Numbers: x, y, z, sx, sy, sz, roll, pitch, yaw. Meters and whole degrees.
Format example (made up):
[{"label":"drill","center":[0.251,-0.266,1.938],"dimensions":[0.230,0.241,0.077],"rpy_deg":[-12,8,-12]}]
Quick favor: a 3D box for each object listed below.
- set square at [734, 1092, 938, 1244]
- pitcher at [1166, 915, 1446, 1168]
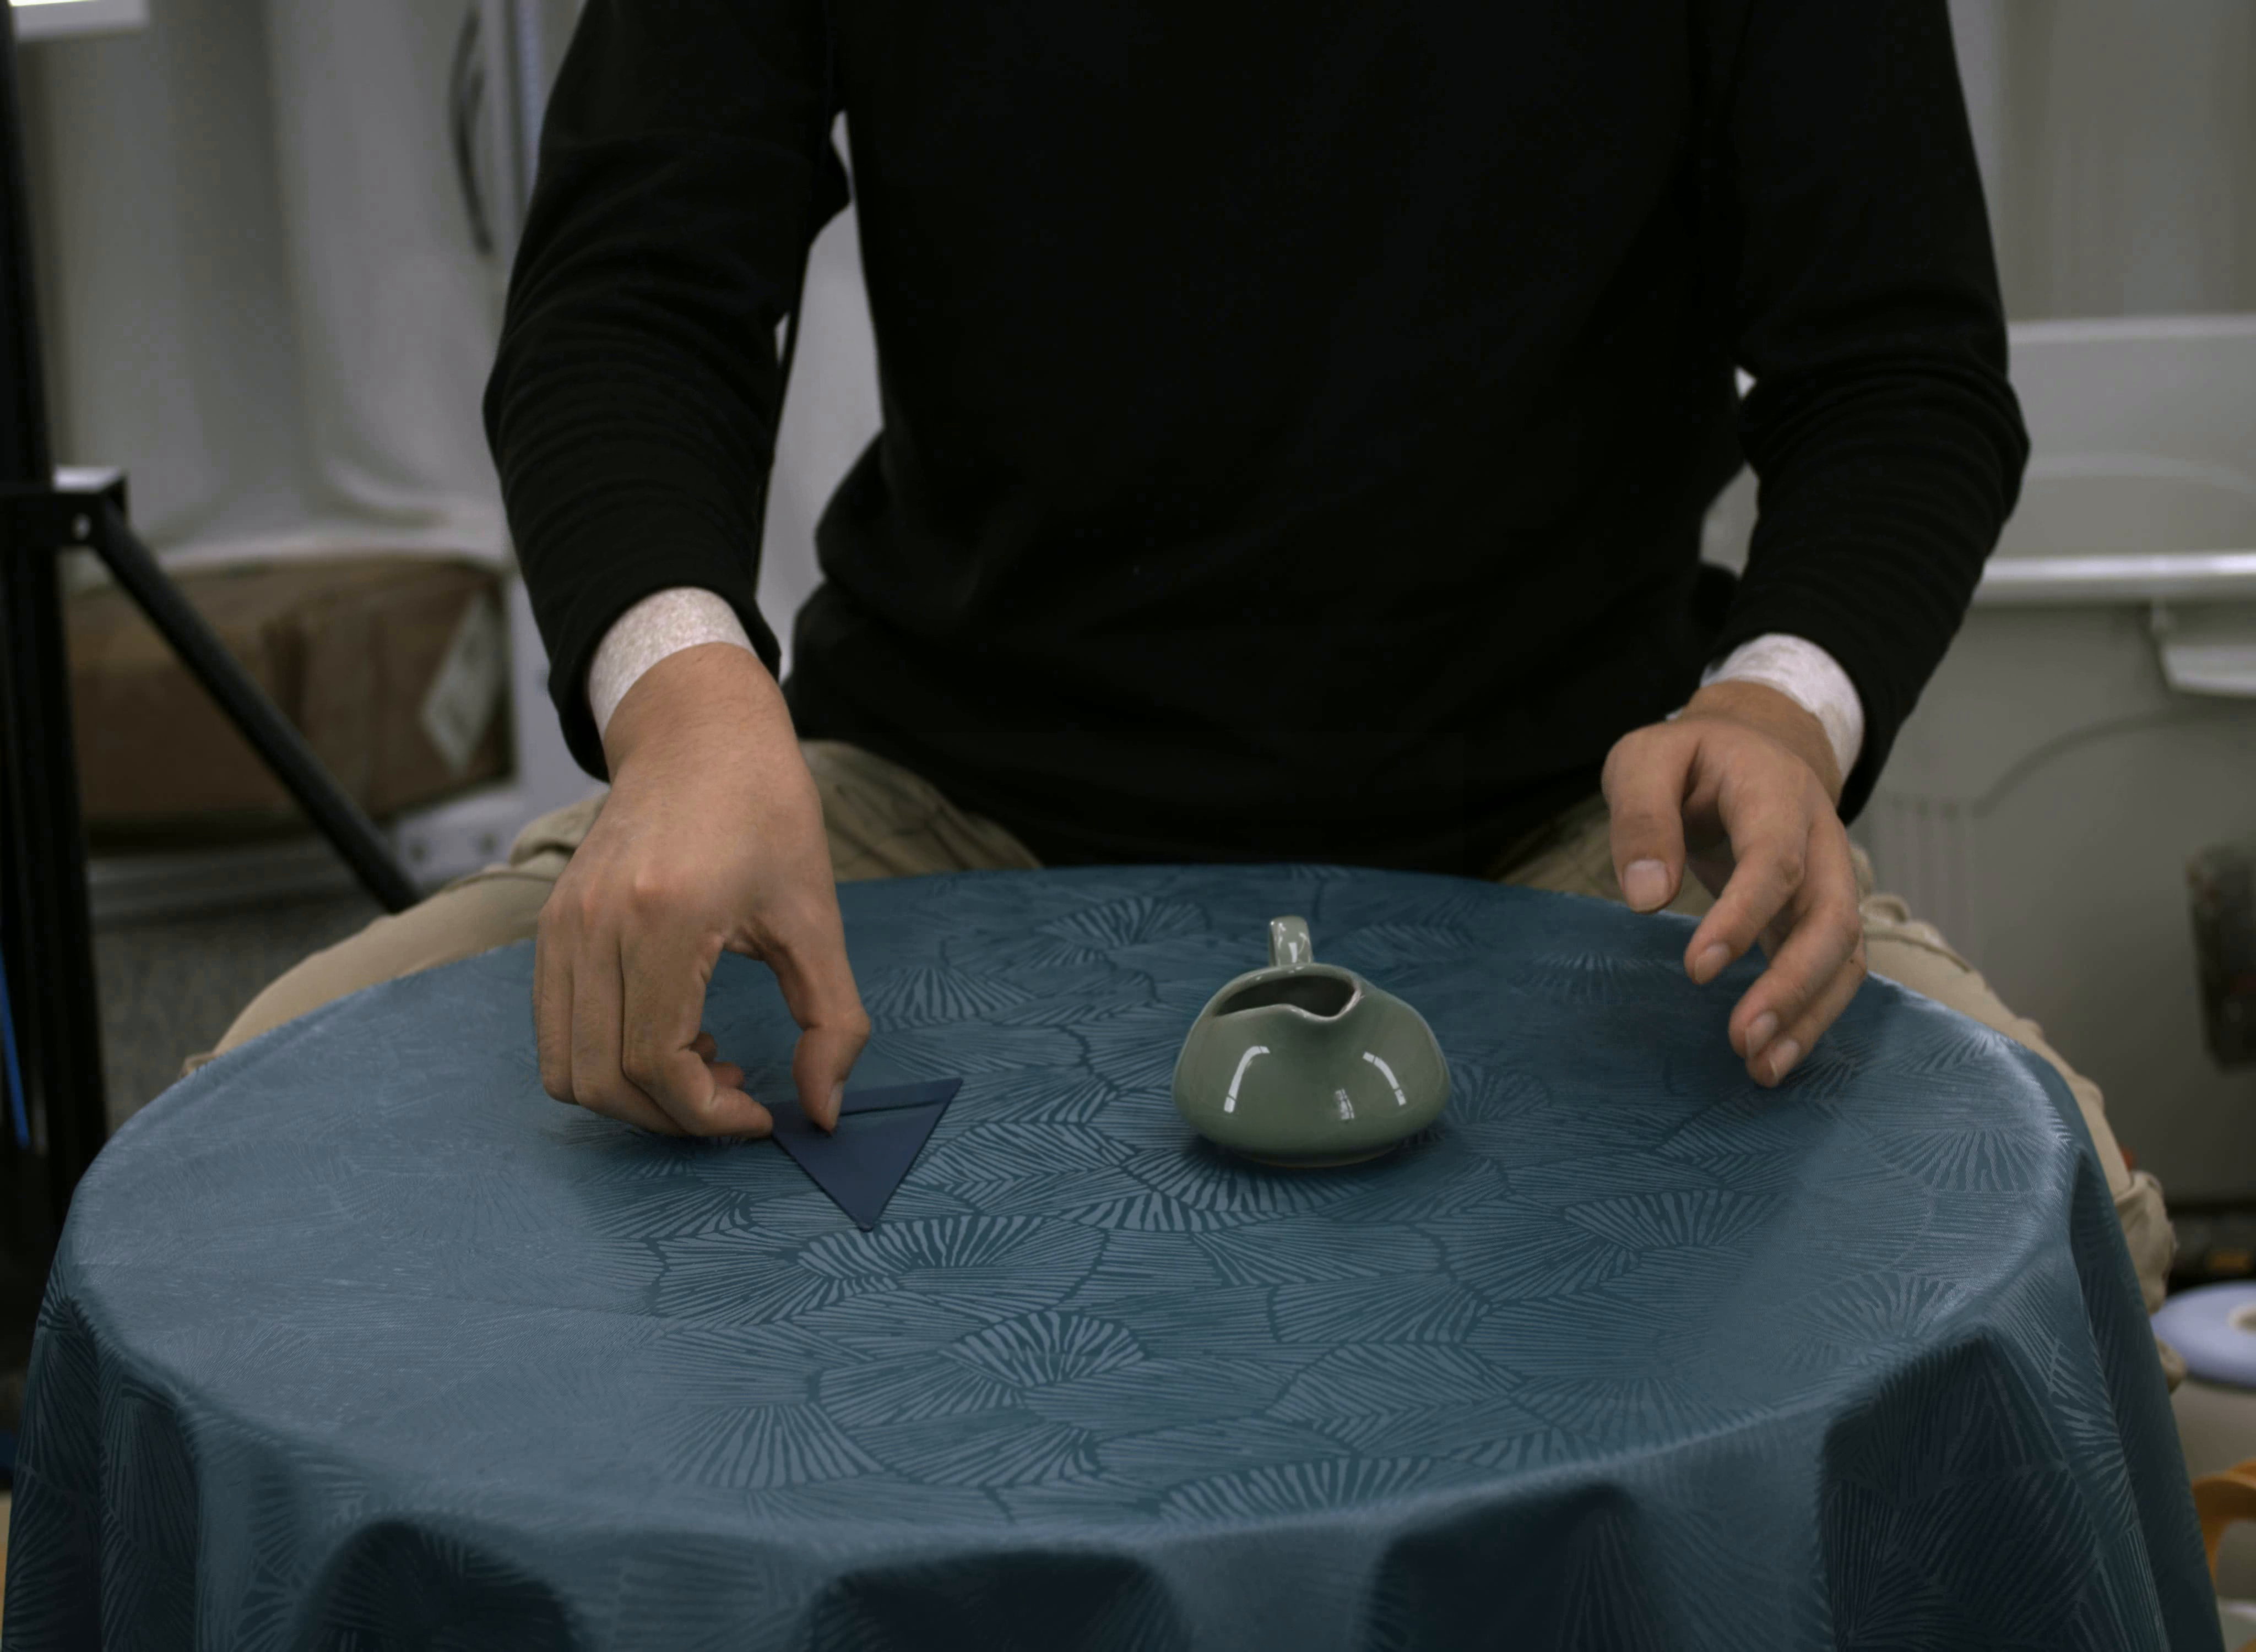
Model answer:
[{"label":"set square","center":[-0.100,0.100,1.597],"dimensions":[0.061,0.006,0.131],"rpy_deg":[2,17,14]},{"label":"pitcher","center":[0.053,0.066,1.595],"dimensions":[0.083,0.056,0.113],"rpy_deg":[-1,15,-5]}]
